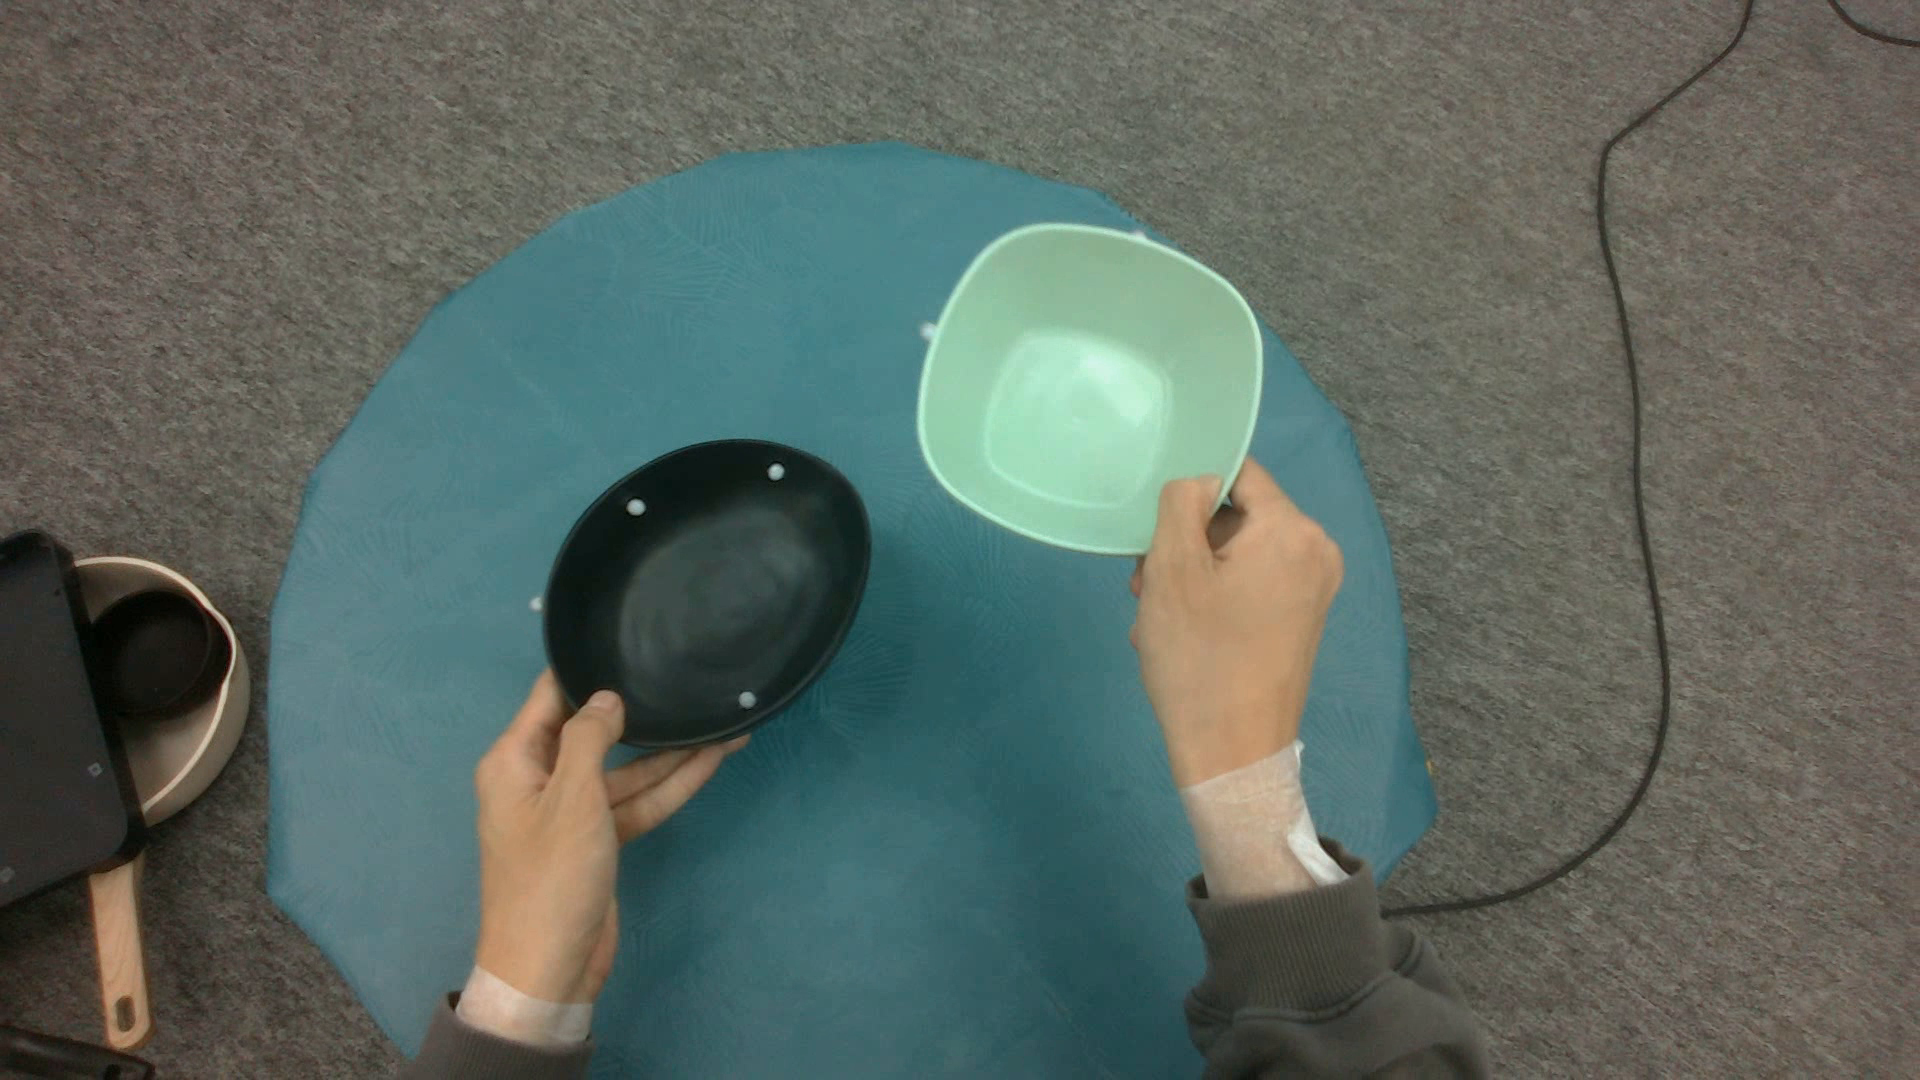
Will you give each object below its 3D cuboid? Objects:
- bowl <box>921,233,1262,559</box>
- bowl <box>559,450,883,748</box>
[{"bbox_3d":[0.056,-0.057,0.603,0.151,0.058,0.152,0,78,1],"label":"bowl"},{"bbox_3d":[-0.113,0.032,0.681,0.137,0.066,0.171,36,70,13],"label":"bowl"}]
